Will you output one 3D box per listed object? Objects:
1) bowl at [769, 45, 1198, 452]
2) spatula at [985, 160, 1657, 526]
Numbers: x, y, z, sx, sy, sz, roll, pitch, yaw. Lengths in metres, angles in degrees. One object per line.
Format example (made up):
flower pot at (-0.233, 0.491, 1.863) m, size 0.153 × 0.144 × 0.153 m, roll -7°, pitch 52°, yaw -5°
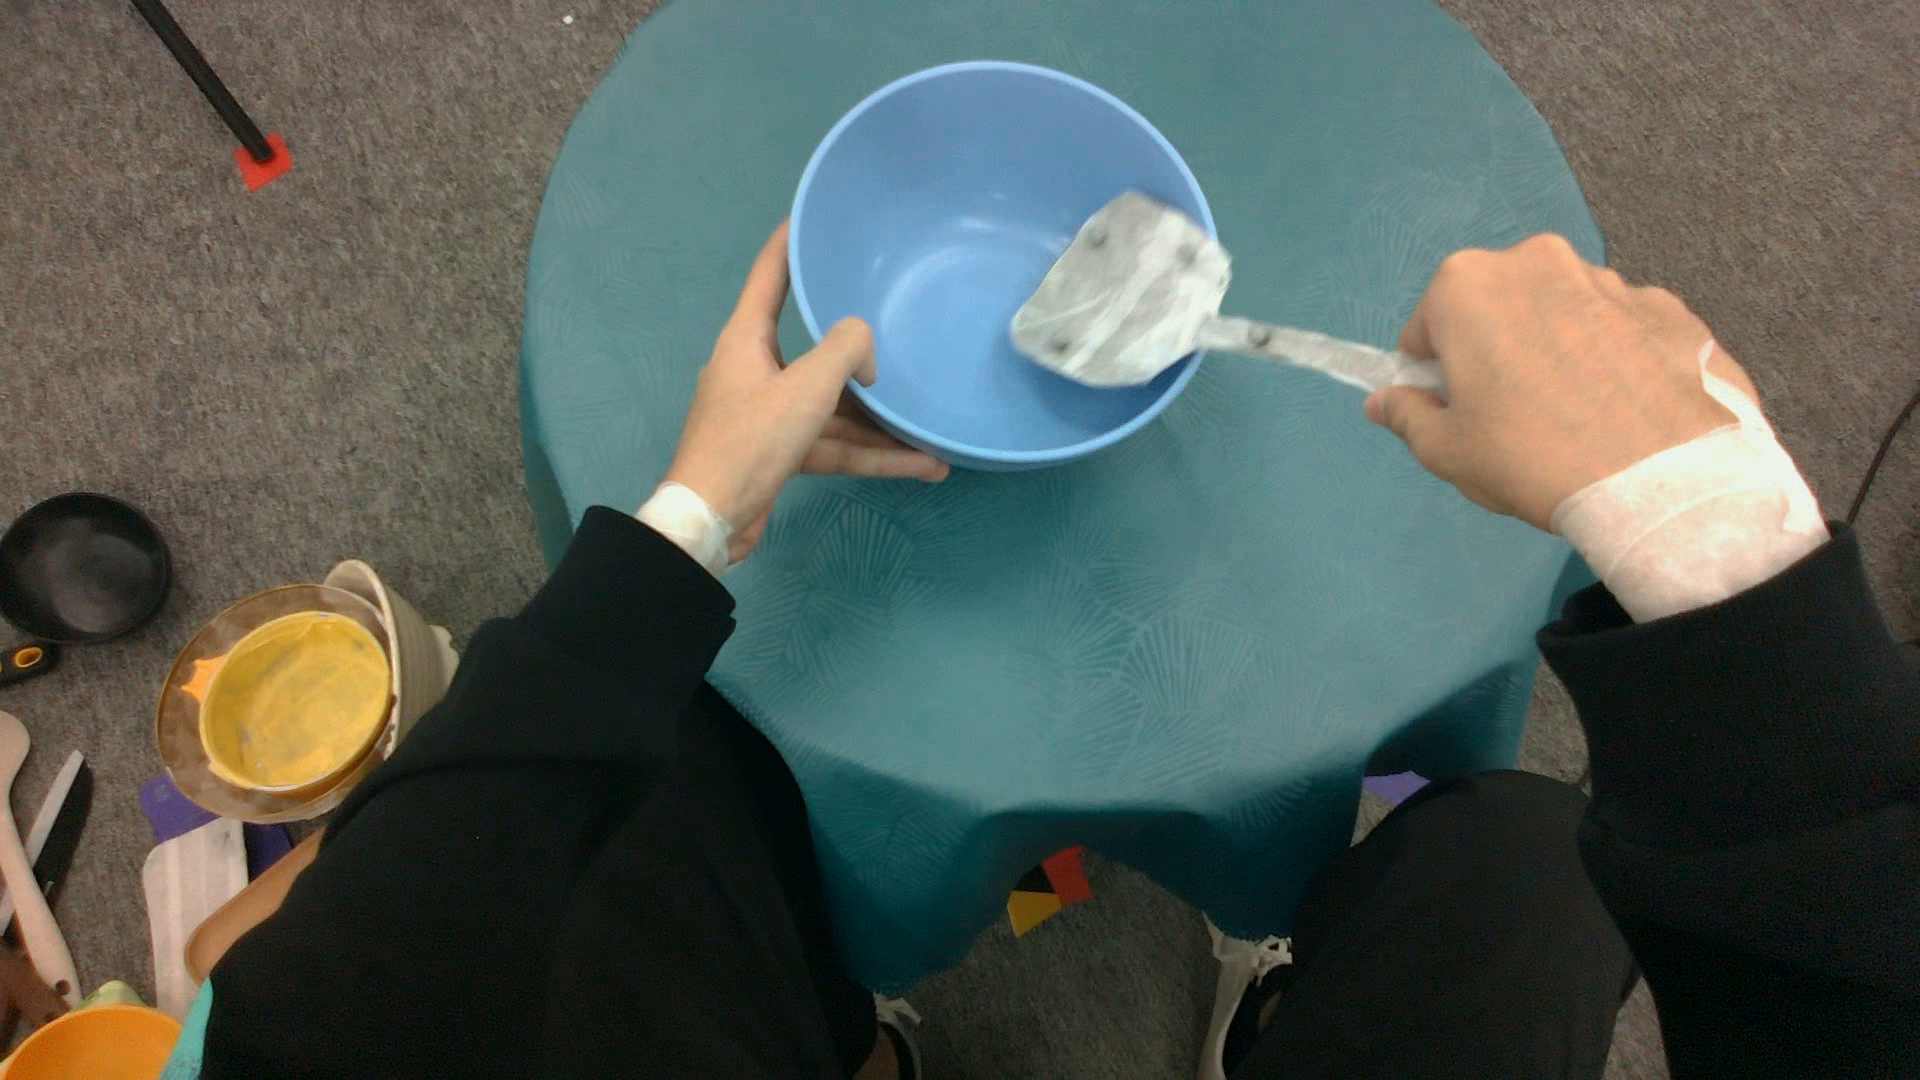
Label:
bowl at (0.006, -0.124, 0.661) m, size 0.196 × 0.095 × 0.197 m, roll 3°, pitch 74°, yaw -10°
spatula at (0.117, -0.083, 0.530) m, size 0.045 × 0.365 × 0.098 m, roll 39°, pitch 91°, yaw -30°
